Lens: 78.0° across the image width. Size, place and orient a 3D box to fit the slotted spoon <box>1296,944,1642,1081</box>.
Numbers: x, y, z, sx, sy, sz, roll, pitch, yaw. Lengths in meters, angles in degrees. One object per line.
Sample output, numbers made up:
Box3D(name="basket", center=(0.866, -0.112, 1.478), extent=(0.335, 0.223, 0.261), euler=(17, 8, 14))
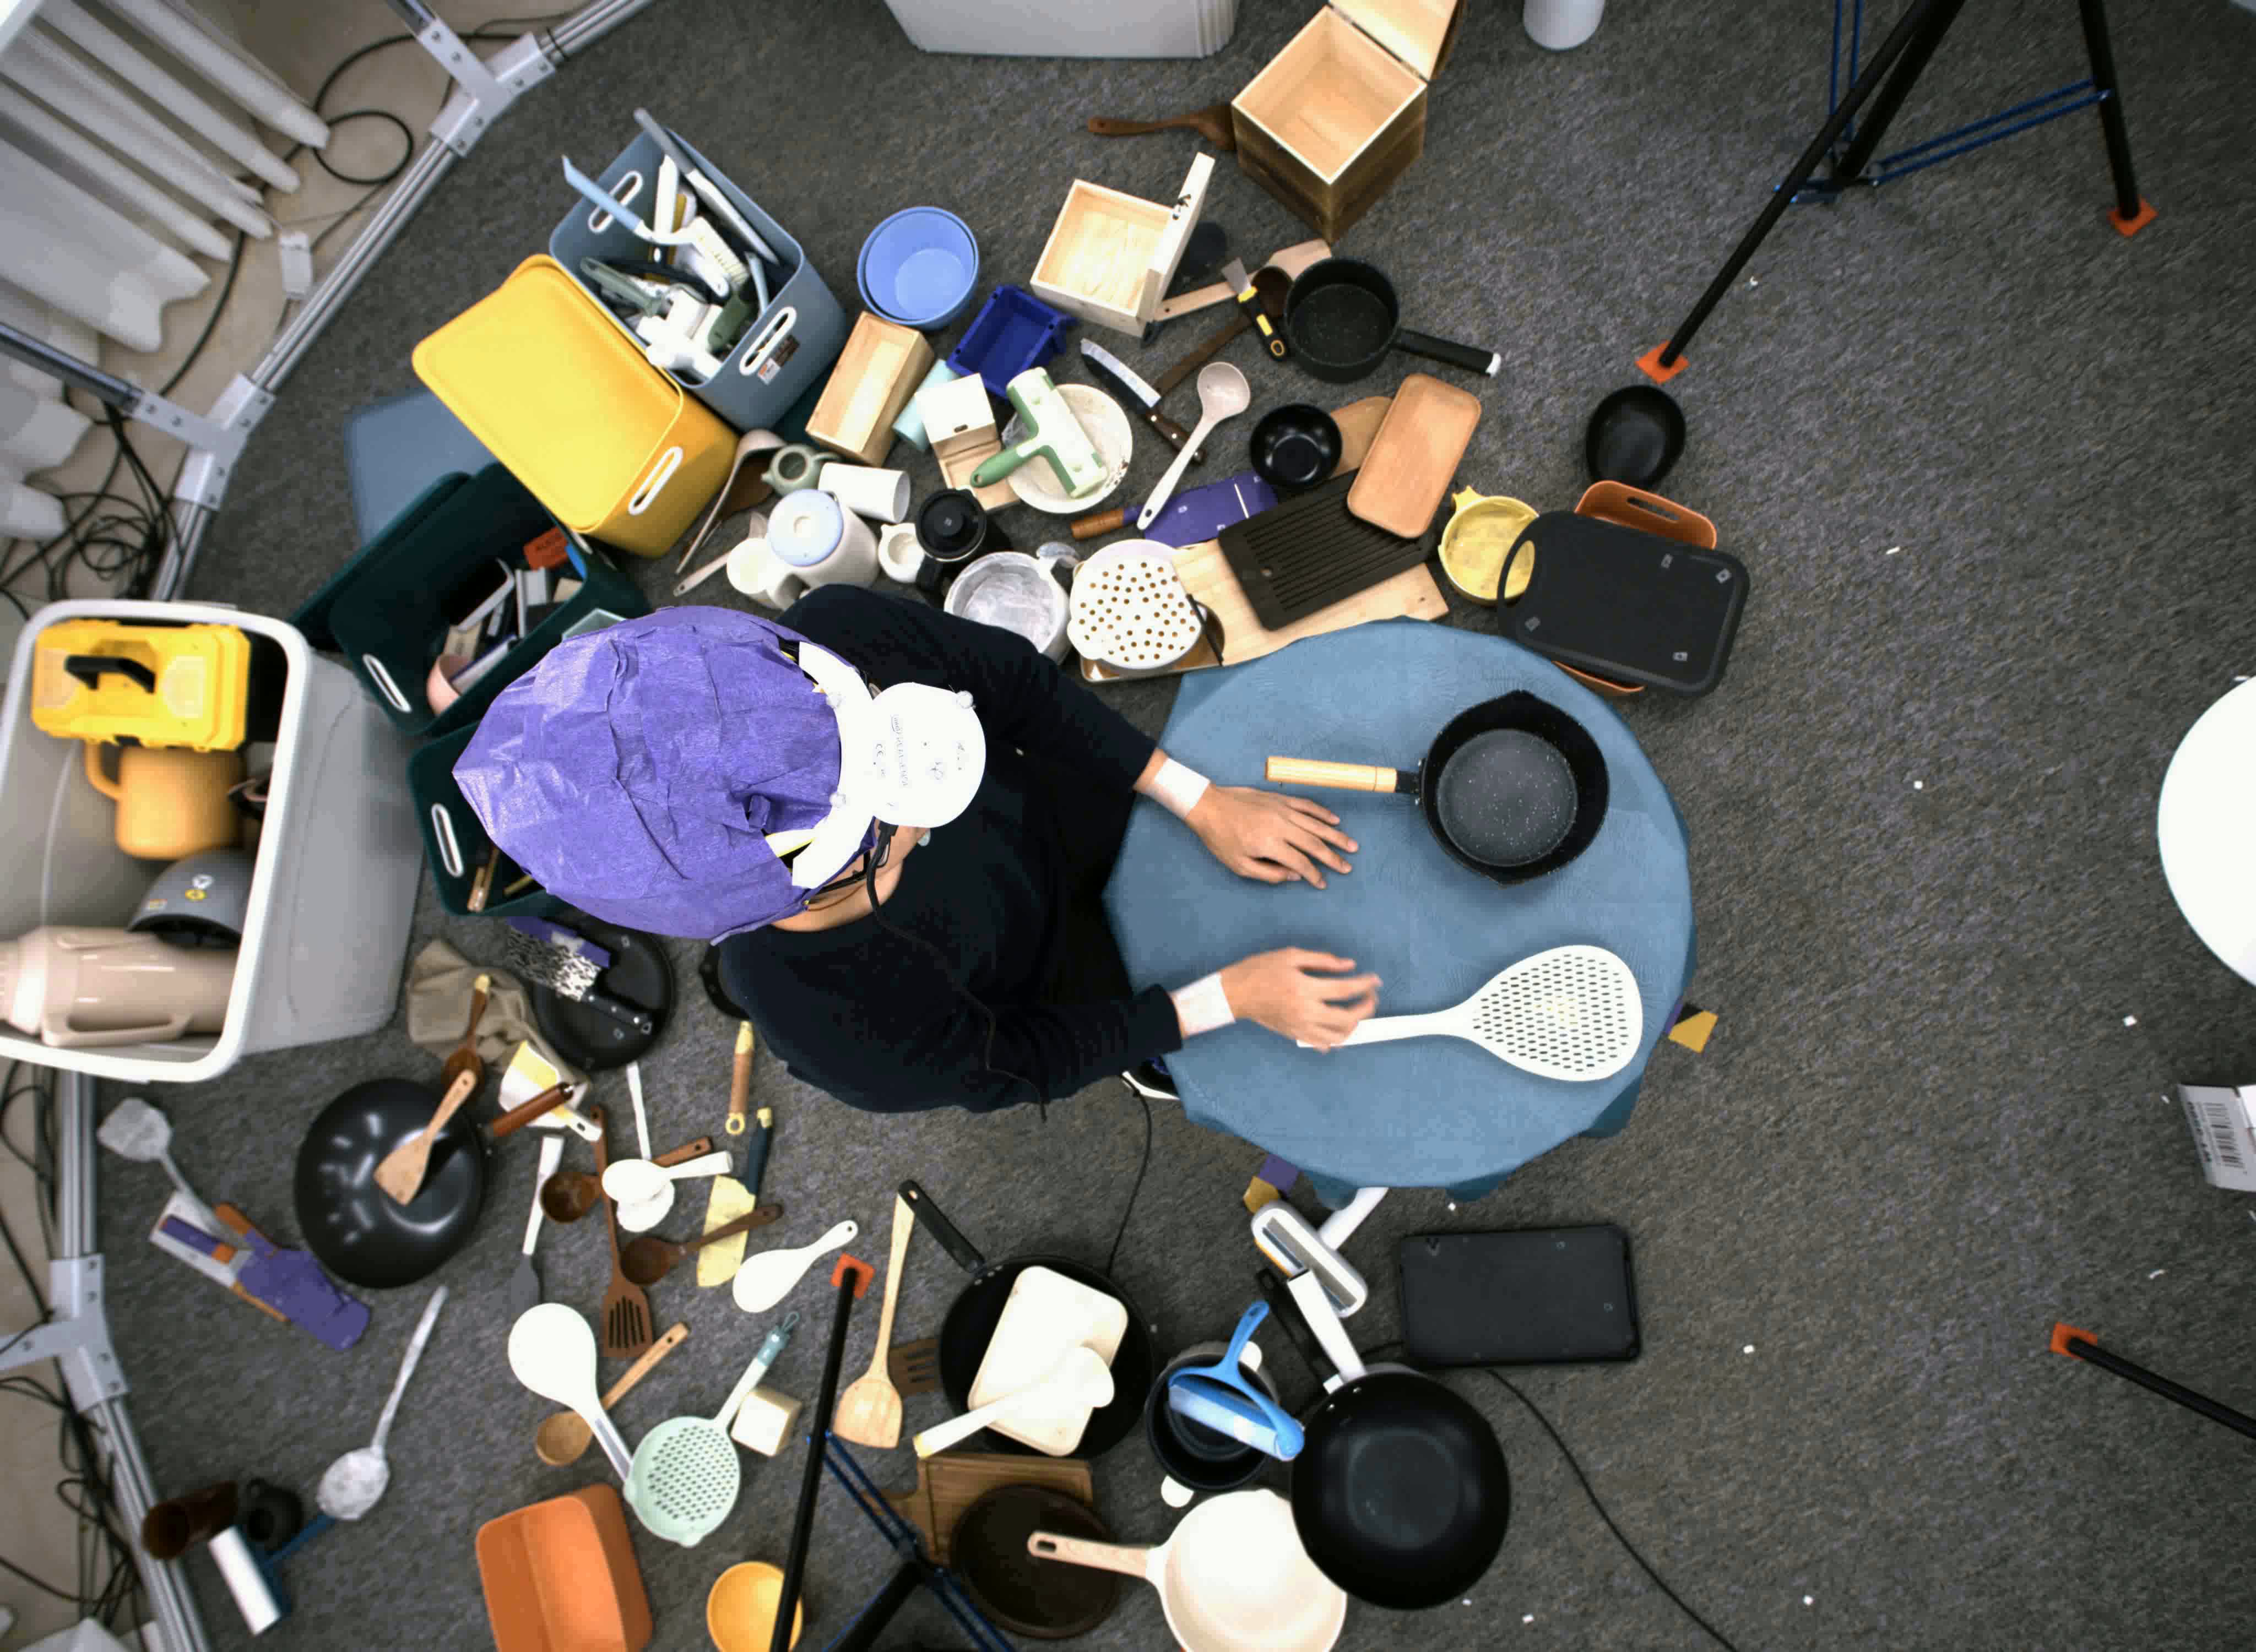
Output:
Box3D(name="slotted spoon", center=(0.345, 0.201, 1.417), extent=(0.349, 0.050, 0.136), euler=(-8, 87, 8))

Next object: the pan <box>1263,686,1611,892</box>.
Box3D(name="pan", center=(0.310, -0.041, 1.404), extent=(0.344, 0.108, 0.207), euler=(3, 88, 9))
